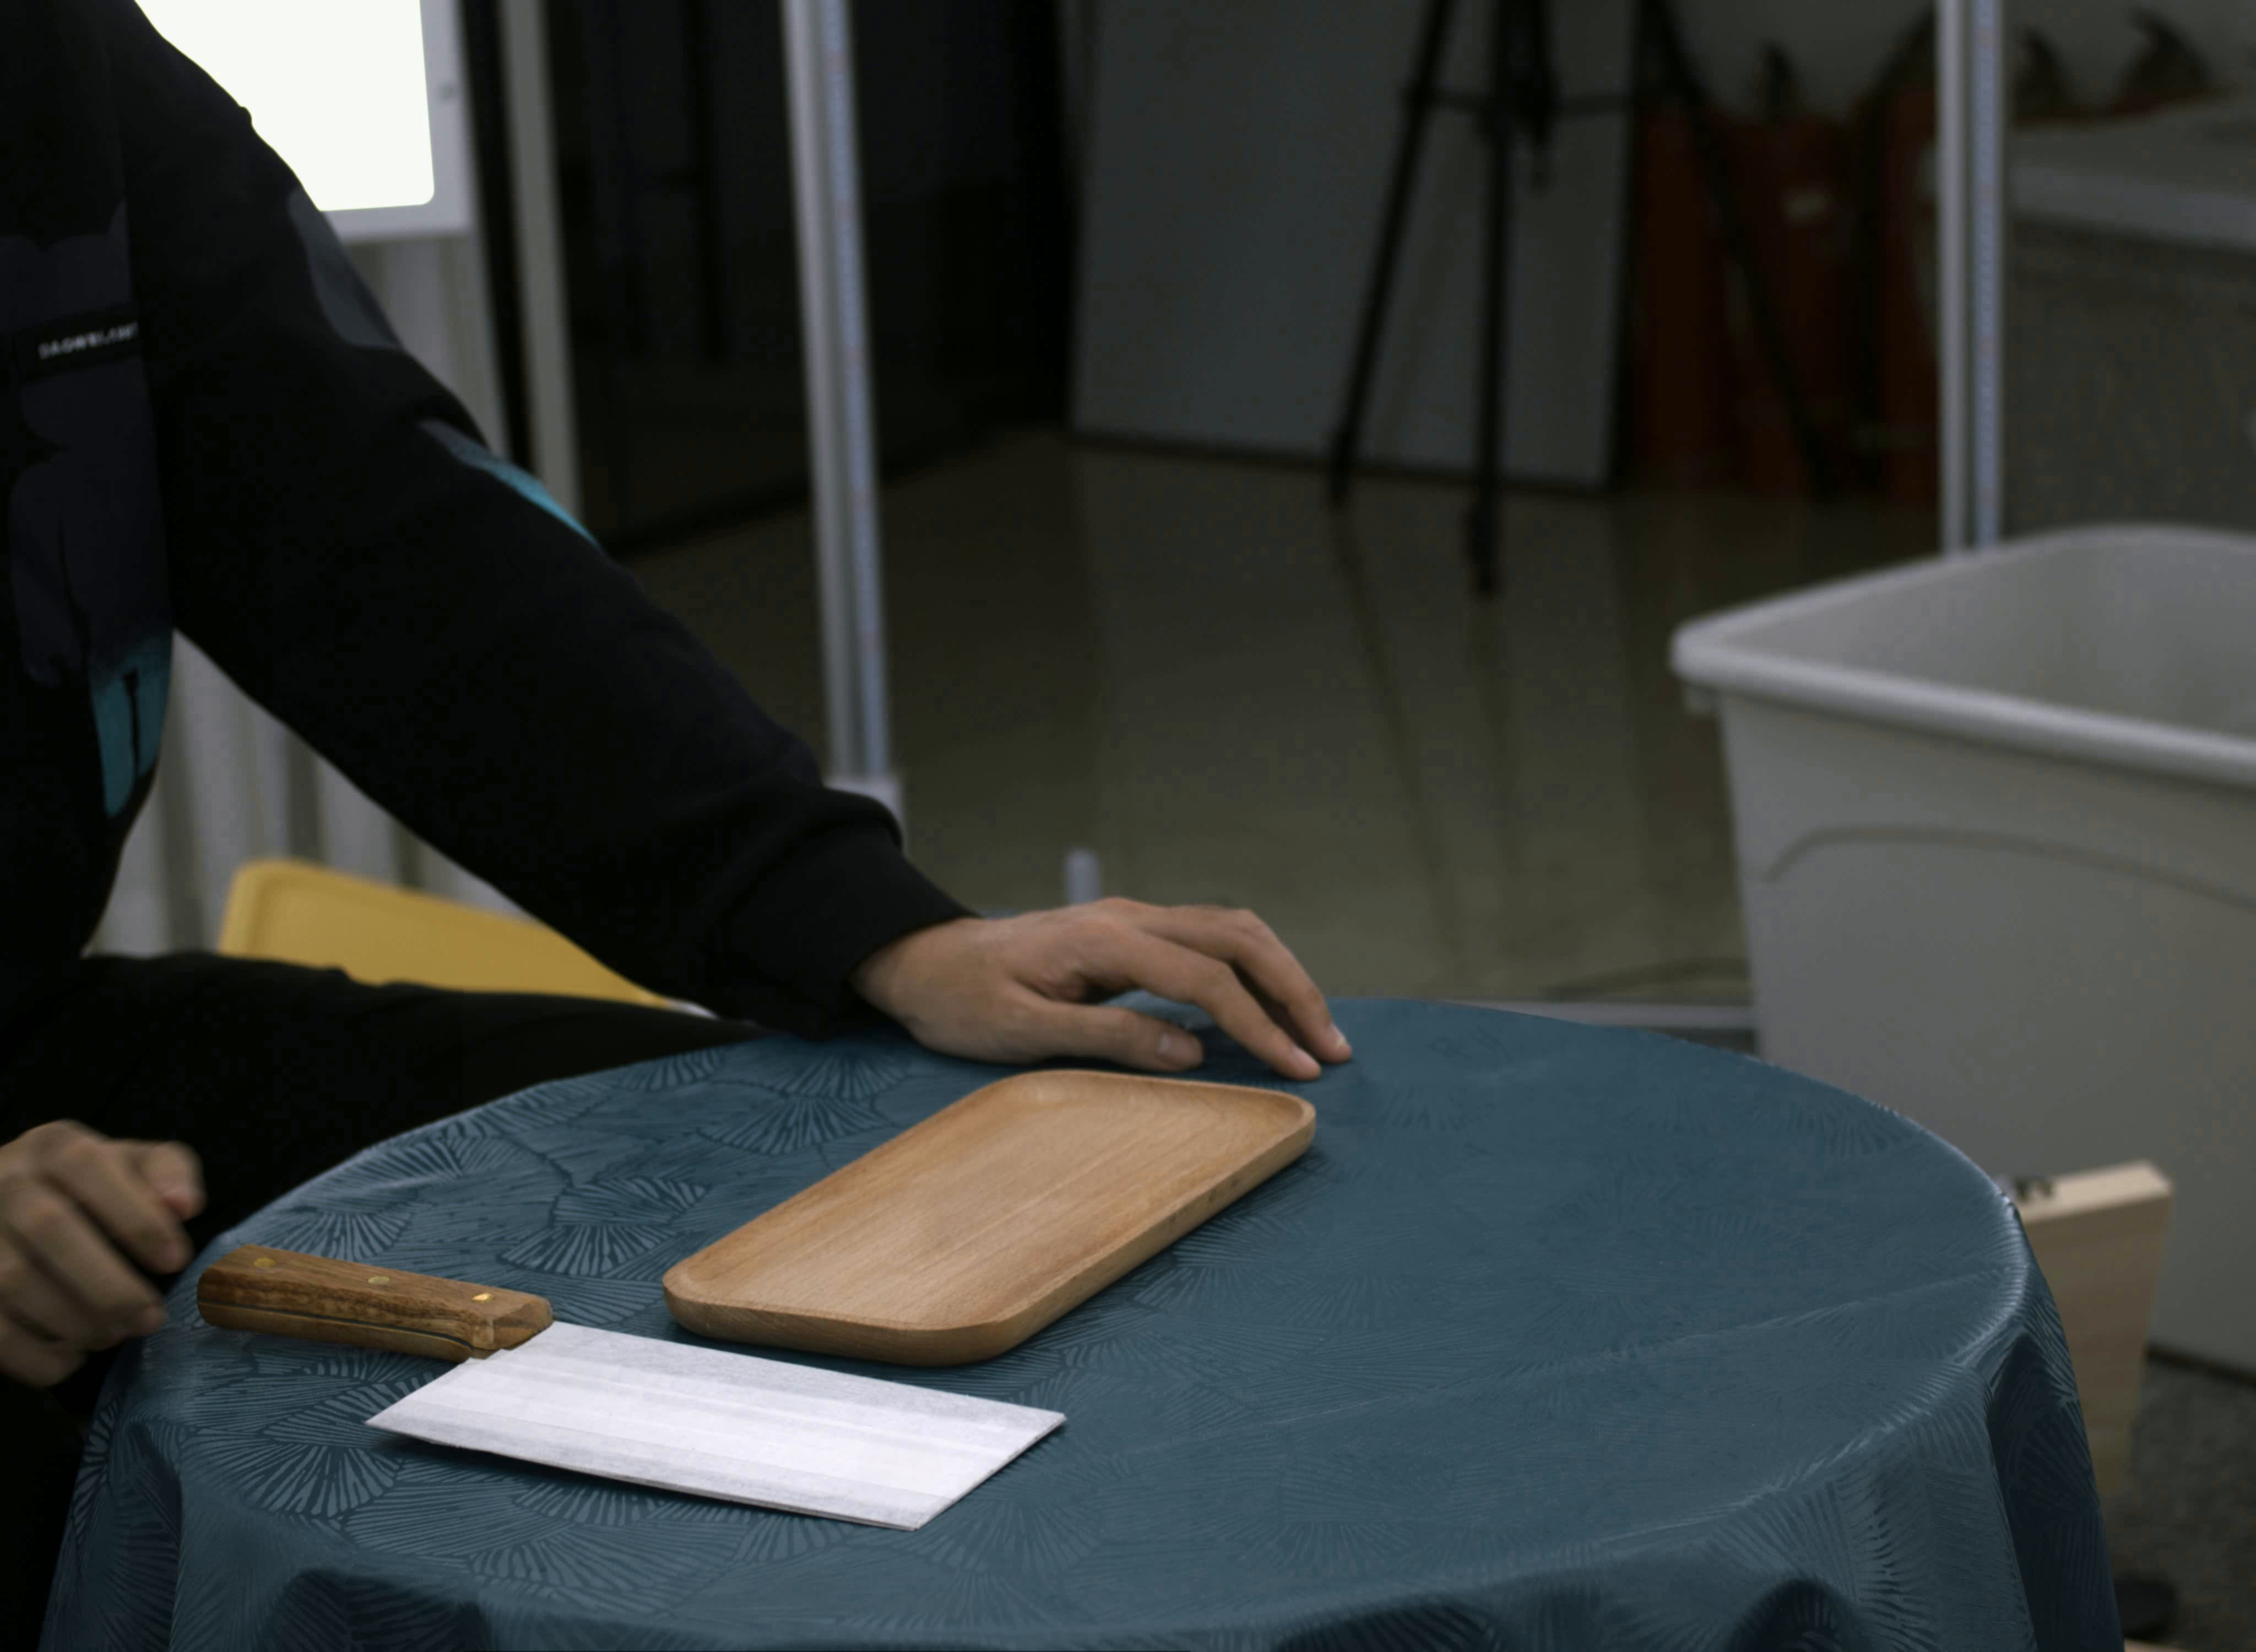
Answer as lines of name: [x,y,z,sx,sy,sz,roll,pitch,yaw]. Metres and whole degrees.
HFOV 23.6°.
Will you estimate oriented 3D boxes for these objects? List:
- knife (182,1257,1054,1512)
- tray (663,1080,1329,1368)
knife: [-0.169,0.168,1.601,0.307,0.021,0.091,7,18,30]
tray: [-0.038,0.125,1.734,0.131,0.023,0.247,6,16,30]
